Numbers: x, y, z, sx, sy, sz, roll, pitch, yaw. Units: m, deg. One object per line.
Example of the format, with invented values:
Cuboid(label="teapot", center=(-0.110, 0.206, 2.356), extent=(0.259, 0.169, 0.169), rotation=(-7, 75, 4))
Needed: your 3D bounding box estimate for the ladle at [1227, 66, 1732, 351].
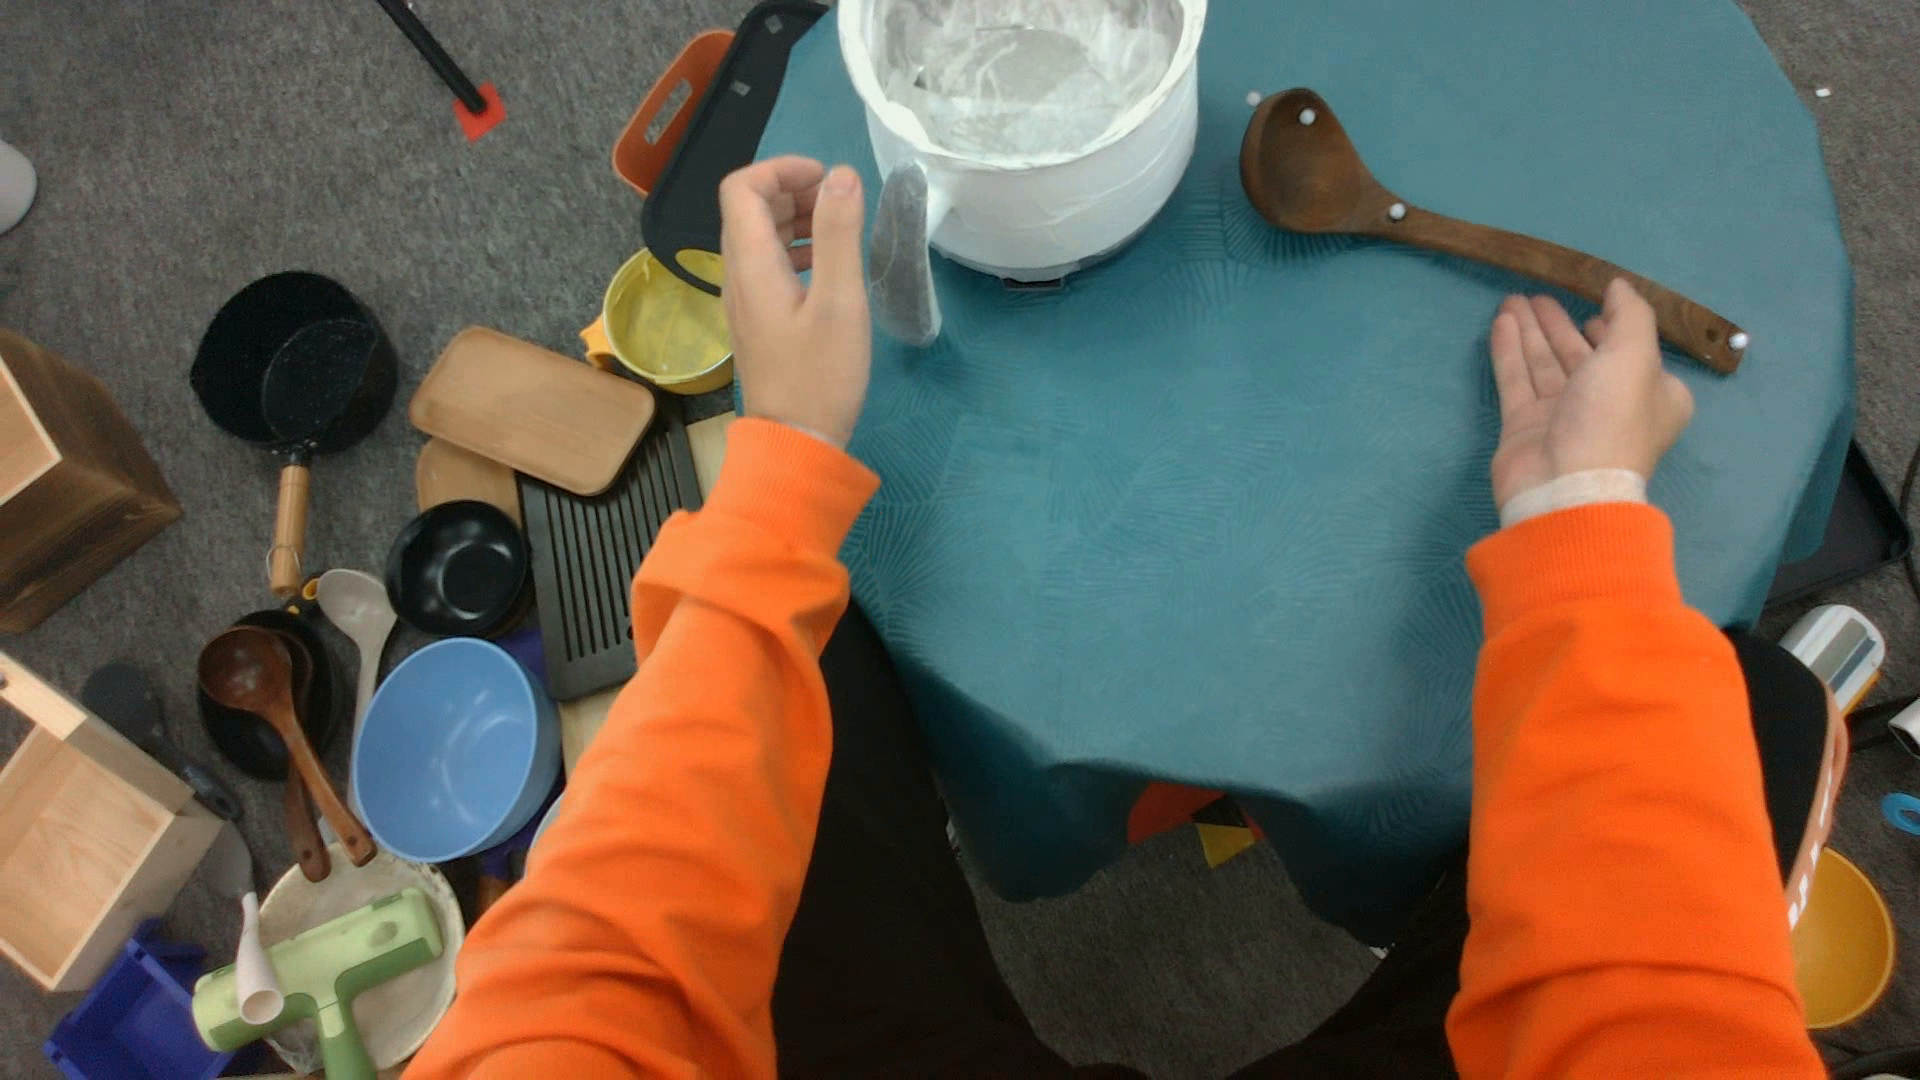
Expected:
Cuboid(label="ladle", center=(0.269, -0.168, 0.710), extent=(0.274, 0.071, 0.076), rotation=(24, 81, 13))

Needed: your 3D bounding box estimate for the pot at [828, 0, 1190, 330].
Cuboid(label="pot", center=(0.016, -0.224, 0.719), extent=(0.178, 0.136, 0.234), rotation=(27, 79, 14))
